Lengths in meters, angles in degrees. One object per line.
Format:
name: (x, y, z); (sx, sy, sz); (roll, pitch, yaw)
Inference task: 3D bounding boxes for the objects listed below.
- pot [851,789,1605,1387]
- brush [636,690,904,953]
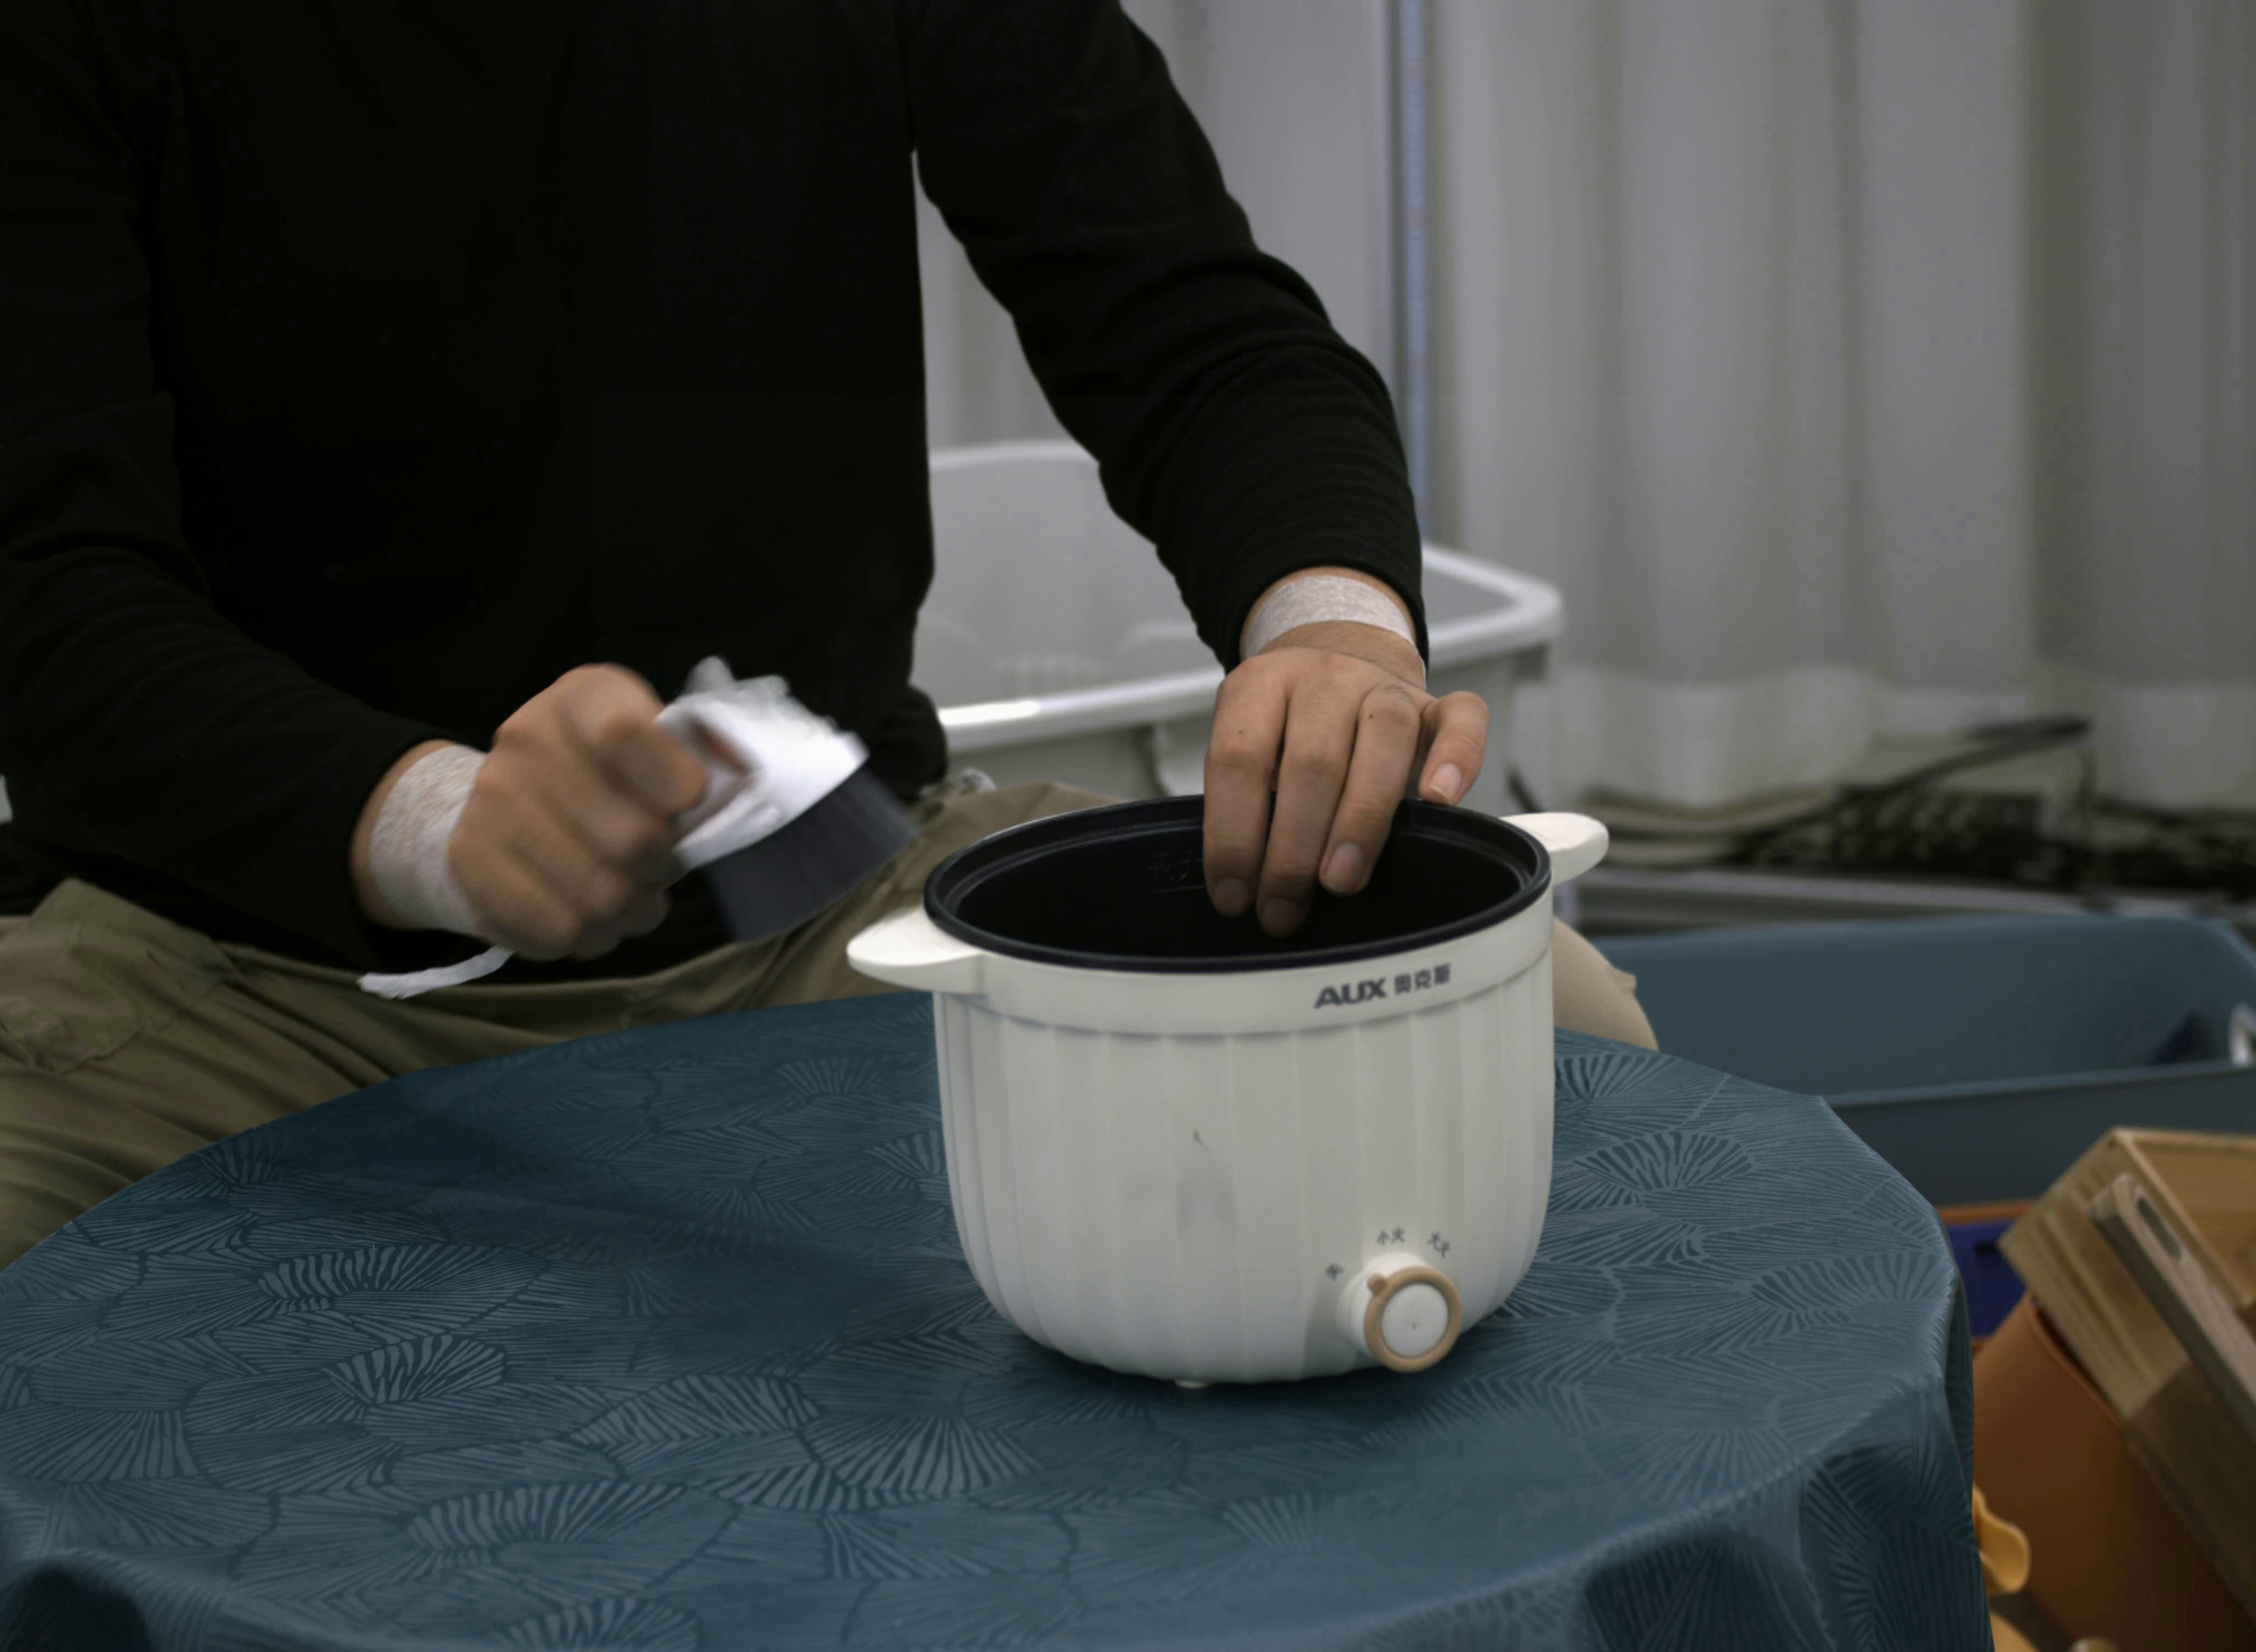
pot: (0.038, 0.078, 1.579); (0.239, 0.142, 0.192); (-11, 13, -24)
brush: (-0.113, -0.007, 1.603); (0.050, 0.072, 0.099); (-40, 7, -17)
